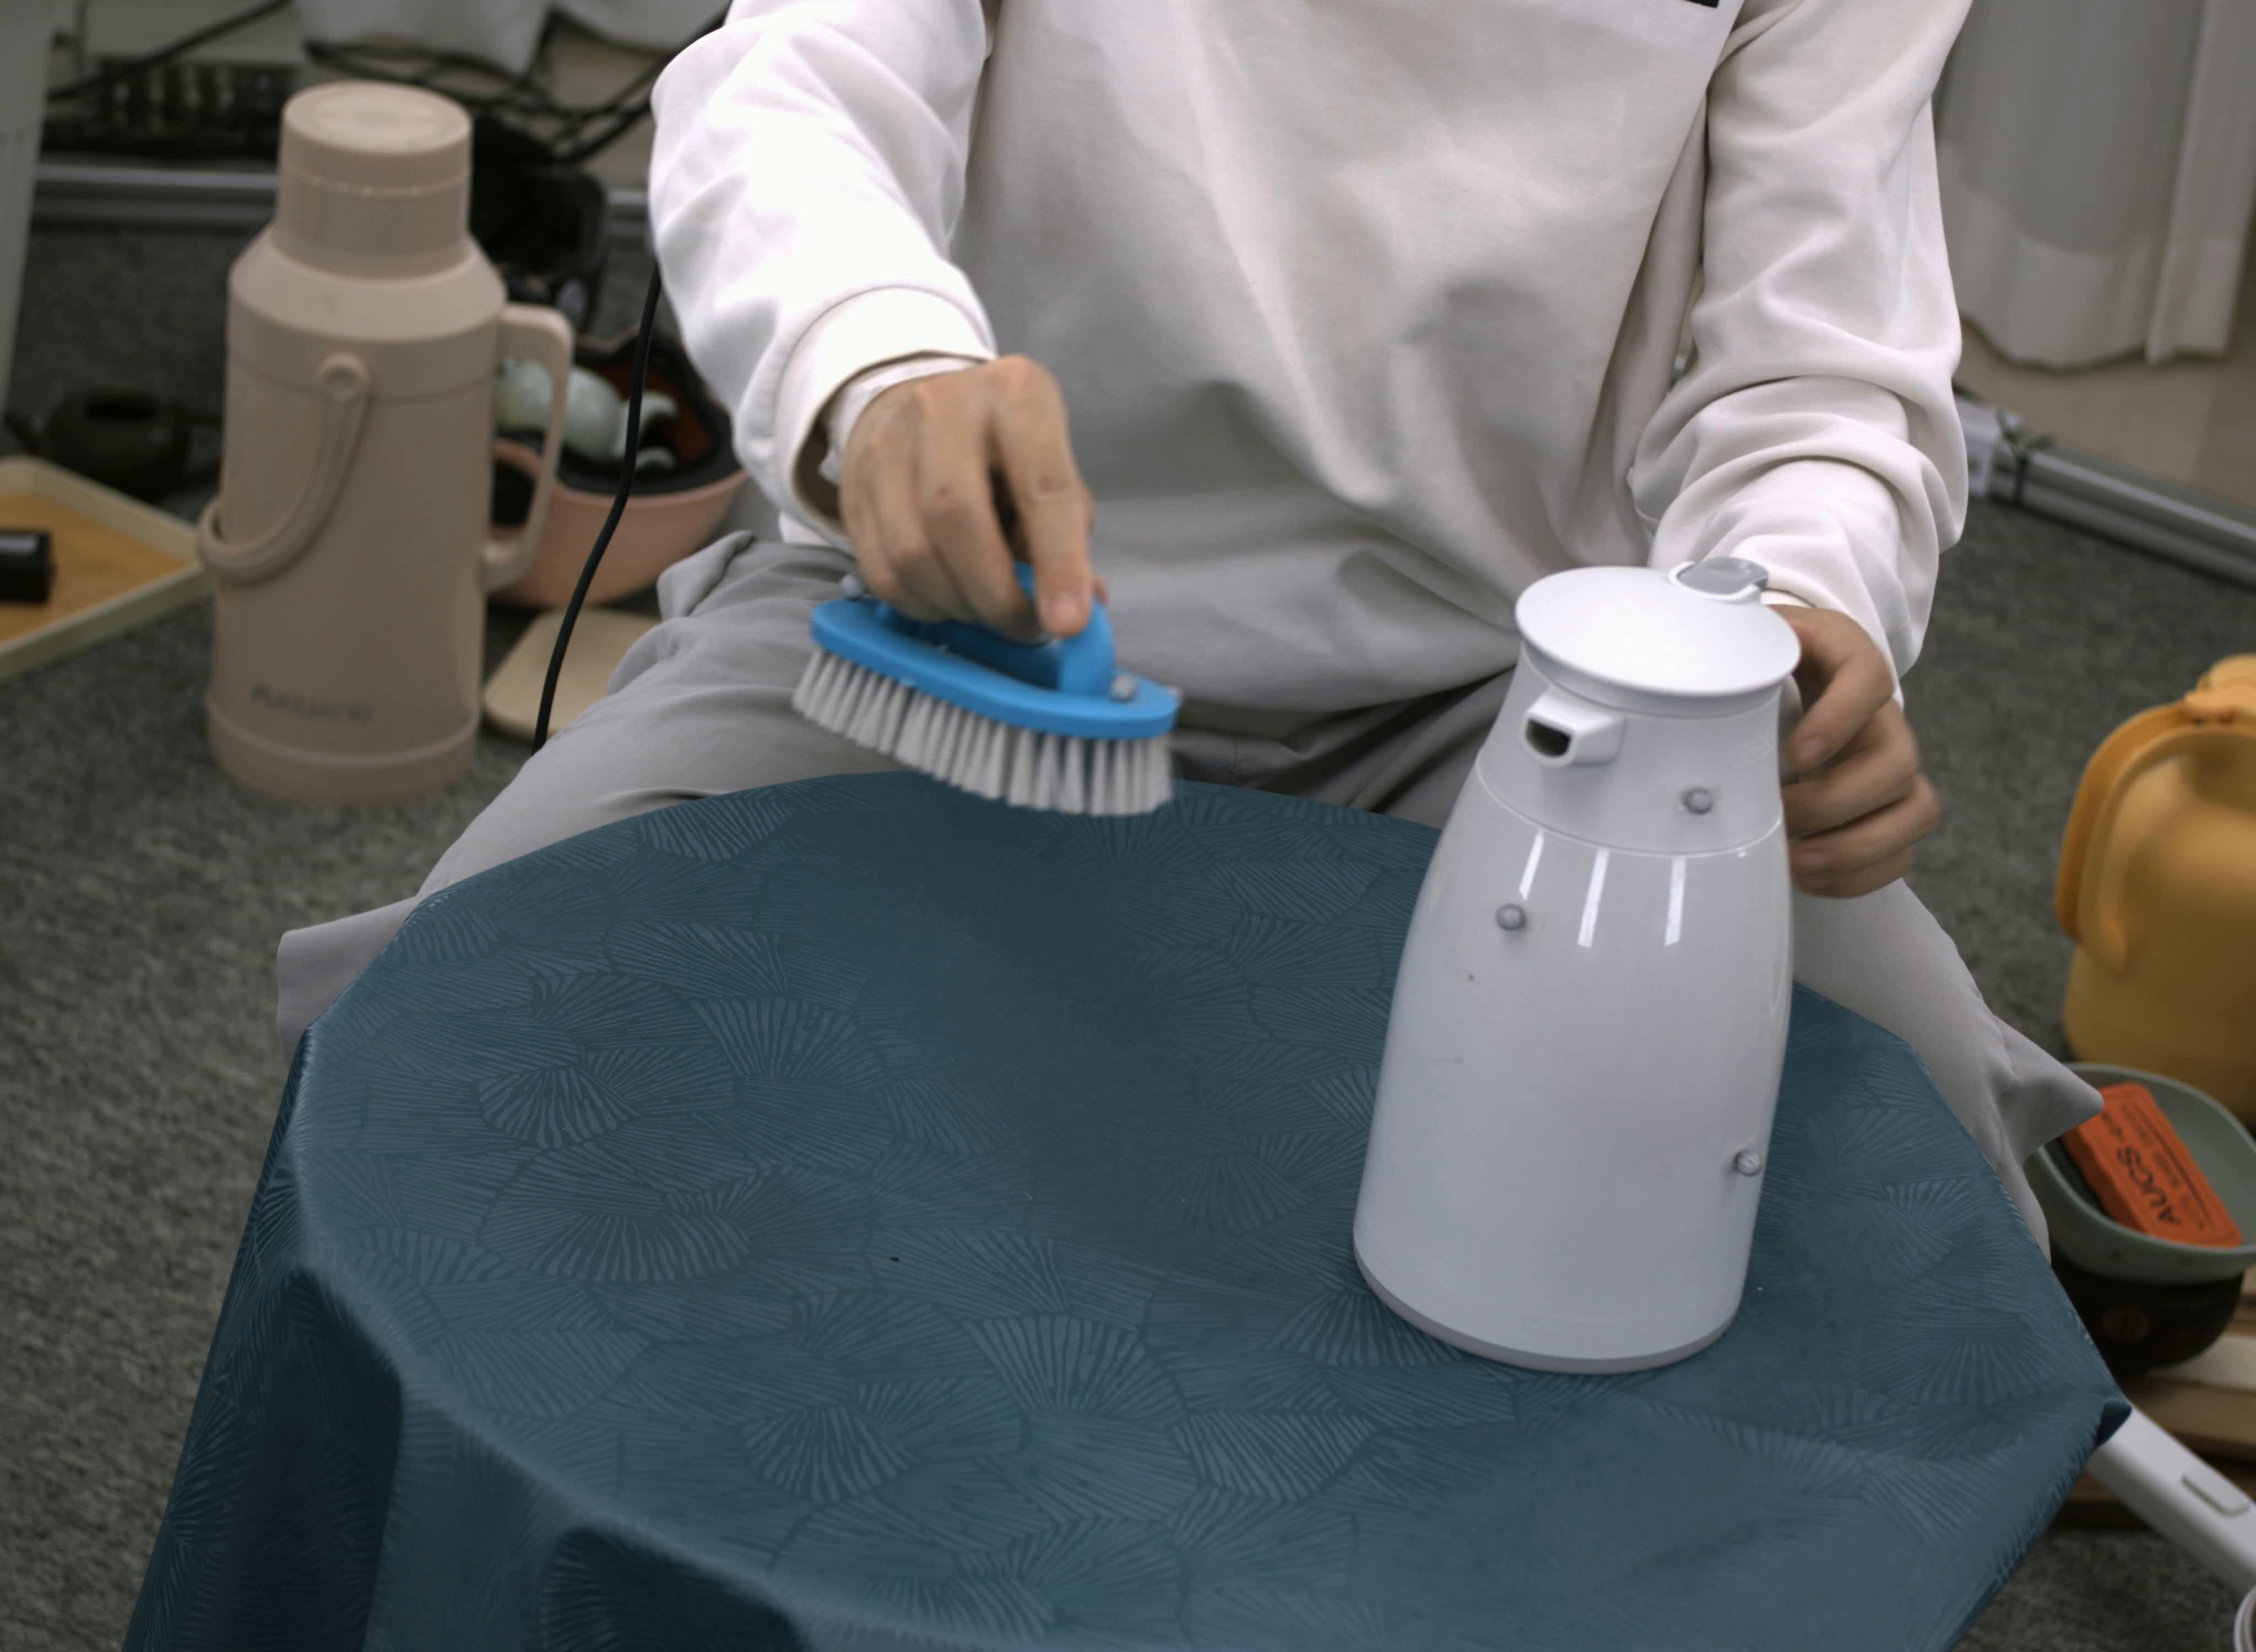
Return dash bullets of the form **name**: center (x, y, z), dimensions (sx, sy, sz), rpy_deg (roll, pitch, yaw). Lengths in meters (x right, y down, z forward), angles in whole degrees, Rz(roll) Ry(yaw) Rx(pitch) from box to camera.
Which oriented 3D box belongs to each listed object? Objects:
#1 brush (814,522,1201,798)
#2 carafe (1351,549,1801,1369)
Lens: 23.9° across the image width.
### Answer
- **brush**: center (-0.040, -0.057, 1.673), dimensions (0.084, 0.063, 0.143), rpy_deg (-10, 23, -41)
- **carafe**: center (0.164, 0.032, 1.750), dimensions (0.133, 0.248, 0.167), rpy_deg (22, 29, 28)
